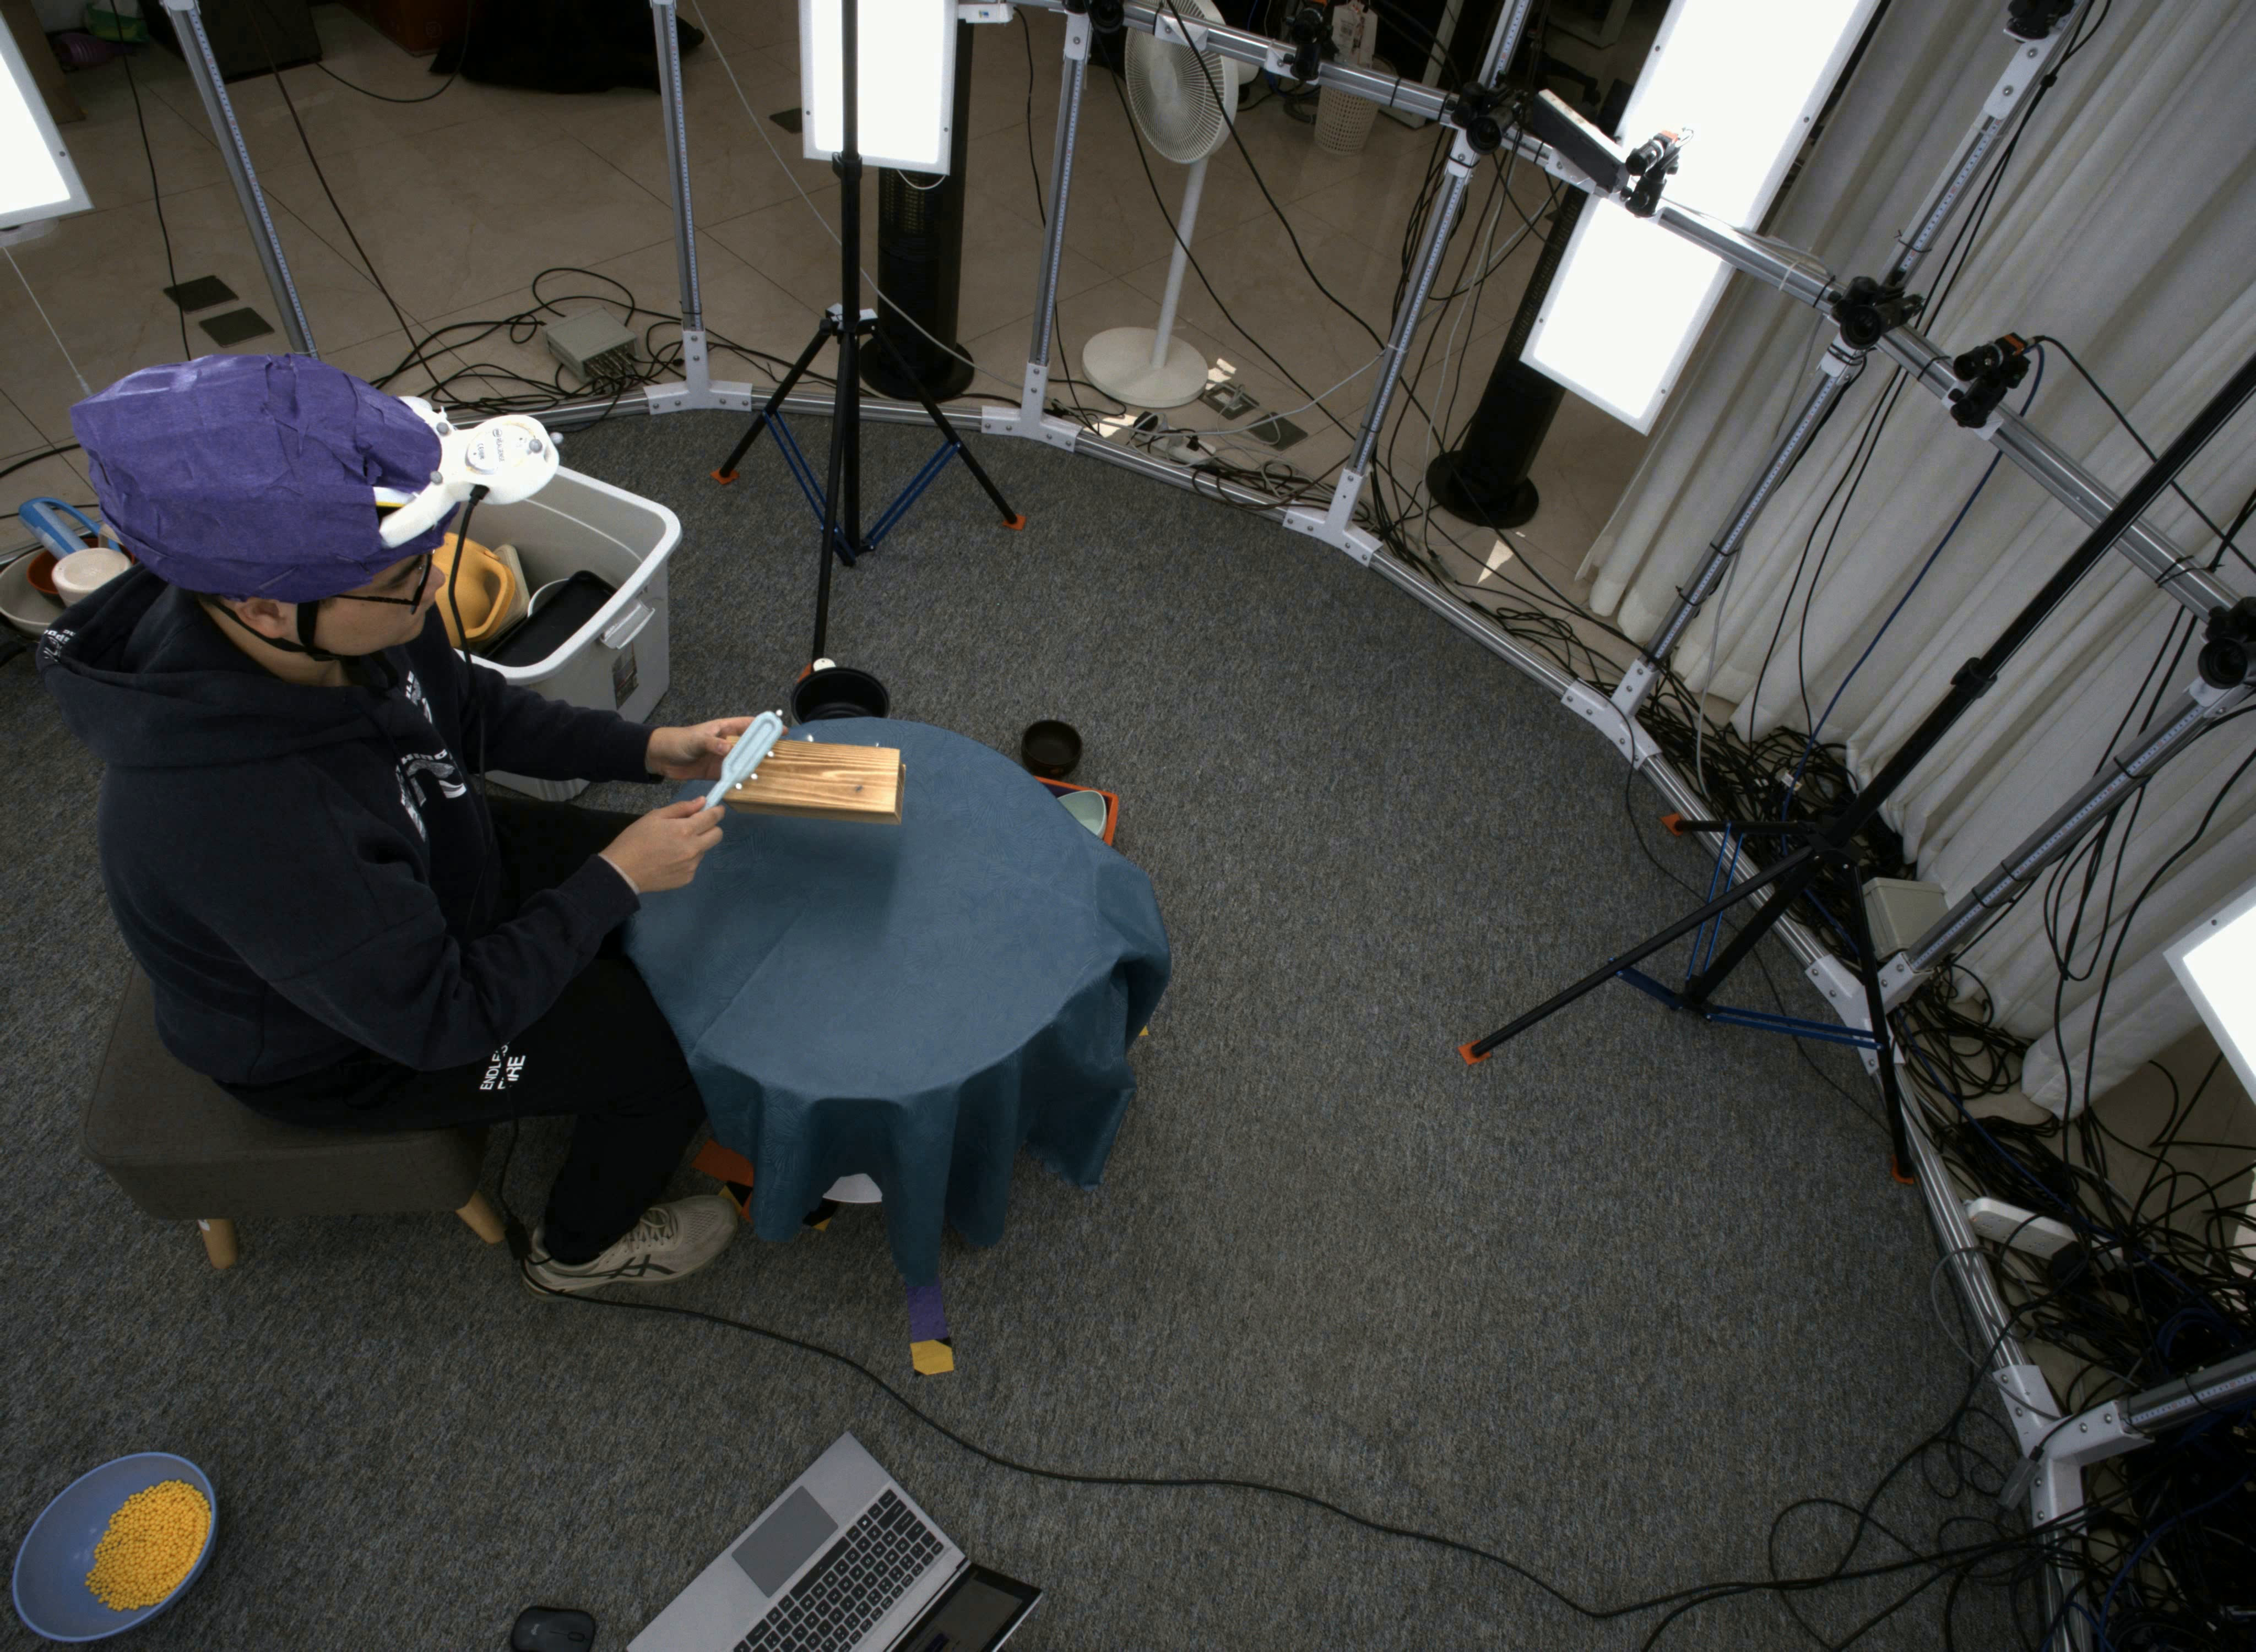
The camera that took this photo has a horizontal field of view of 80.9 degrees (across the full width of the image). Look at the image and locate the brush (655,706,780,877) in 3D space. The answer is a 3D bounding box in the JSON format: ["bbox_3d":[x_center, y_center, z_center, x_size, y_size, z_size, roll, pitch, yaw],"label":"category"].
[{"bbox_3d":[-0.478,-0.041,1.502,0.038,0.049,0.228,34,72,-14],"label":"brush"}]

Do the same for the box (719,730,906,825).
[{"bbox_3d":[-0.389,-0.059,1.614,0.211,0.107,0.080,5,82,-8],"label":"box"}]
